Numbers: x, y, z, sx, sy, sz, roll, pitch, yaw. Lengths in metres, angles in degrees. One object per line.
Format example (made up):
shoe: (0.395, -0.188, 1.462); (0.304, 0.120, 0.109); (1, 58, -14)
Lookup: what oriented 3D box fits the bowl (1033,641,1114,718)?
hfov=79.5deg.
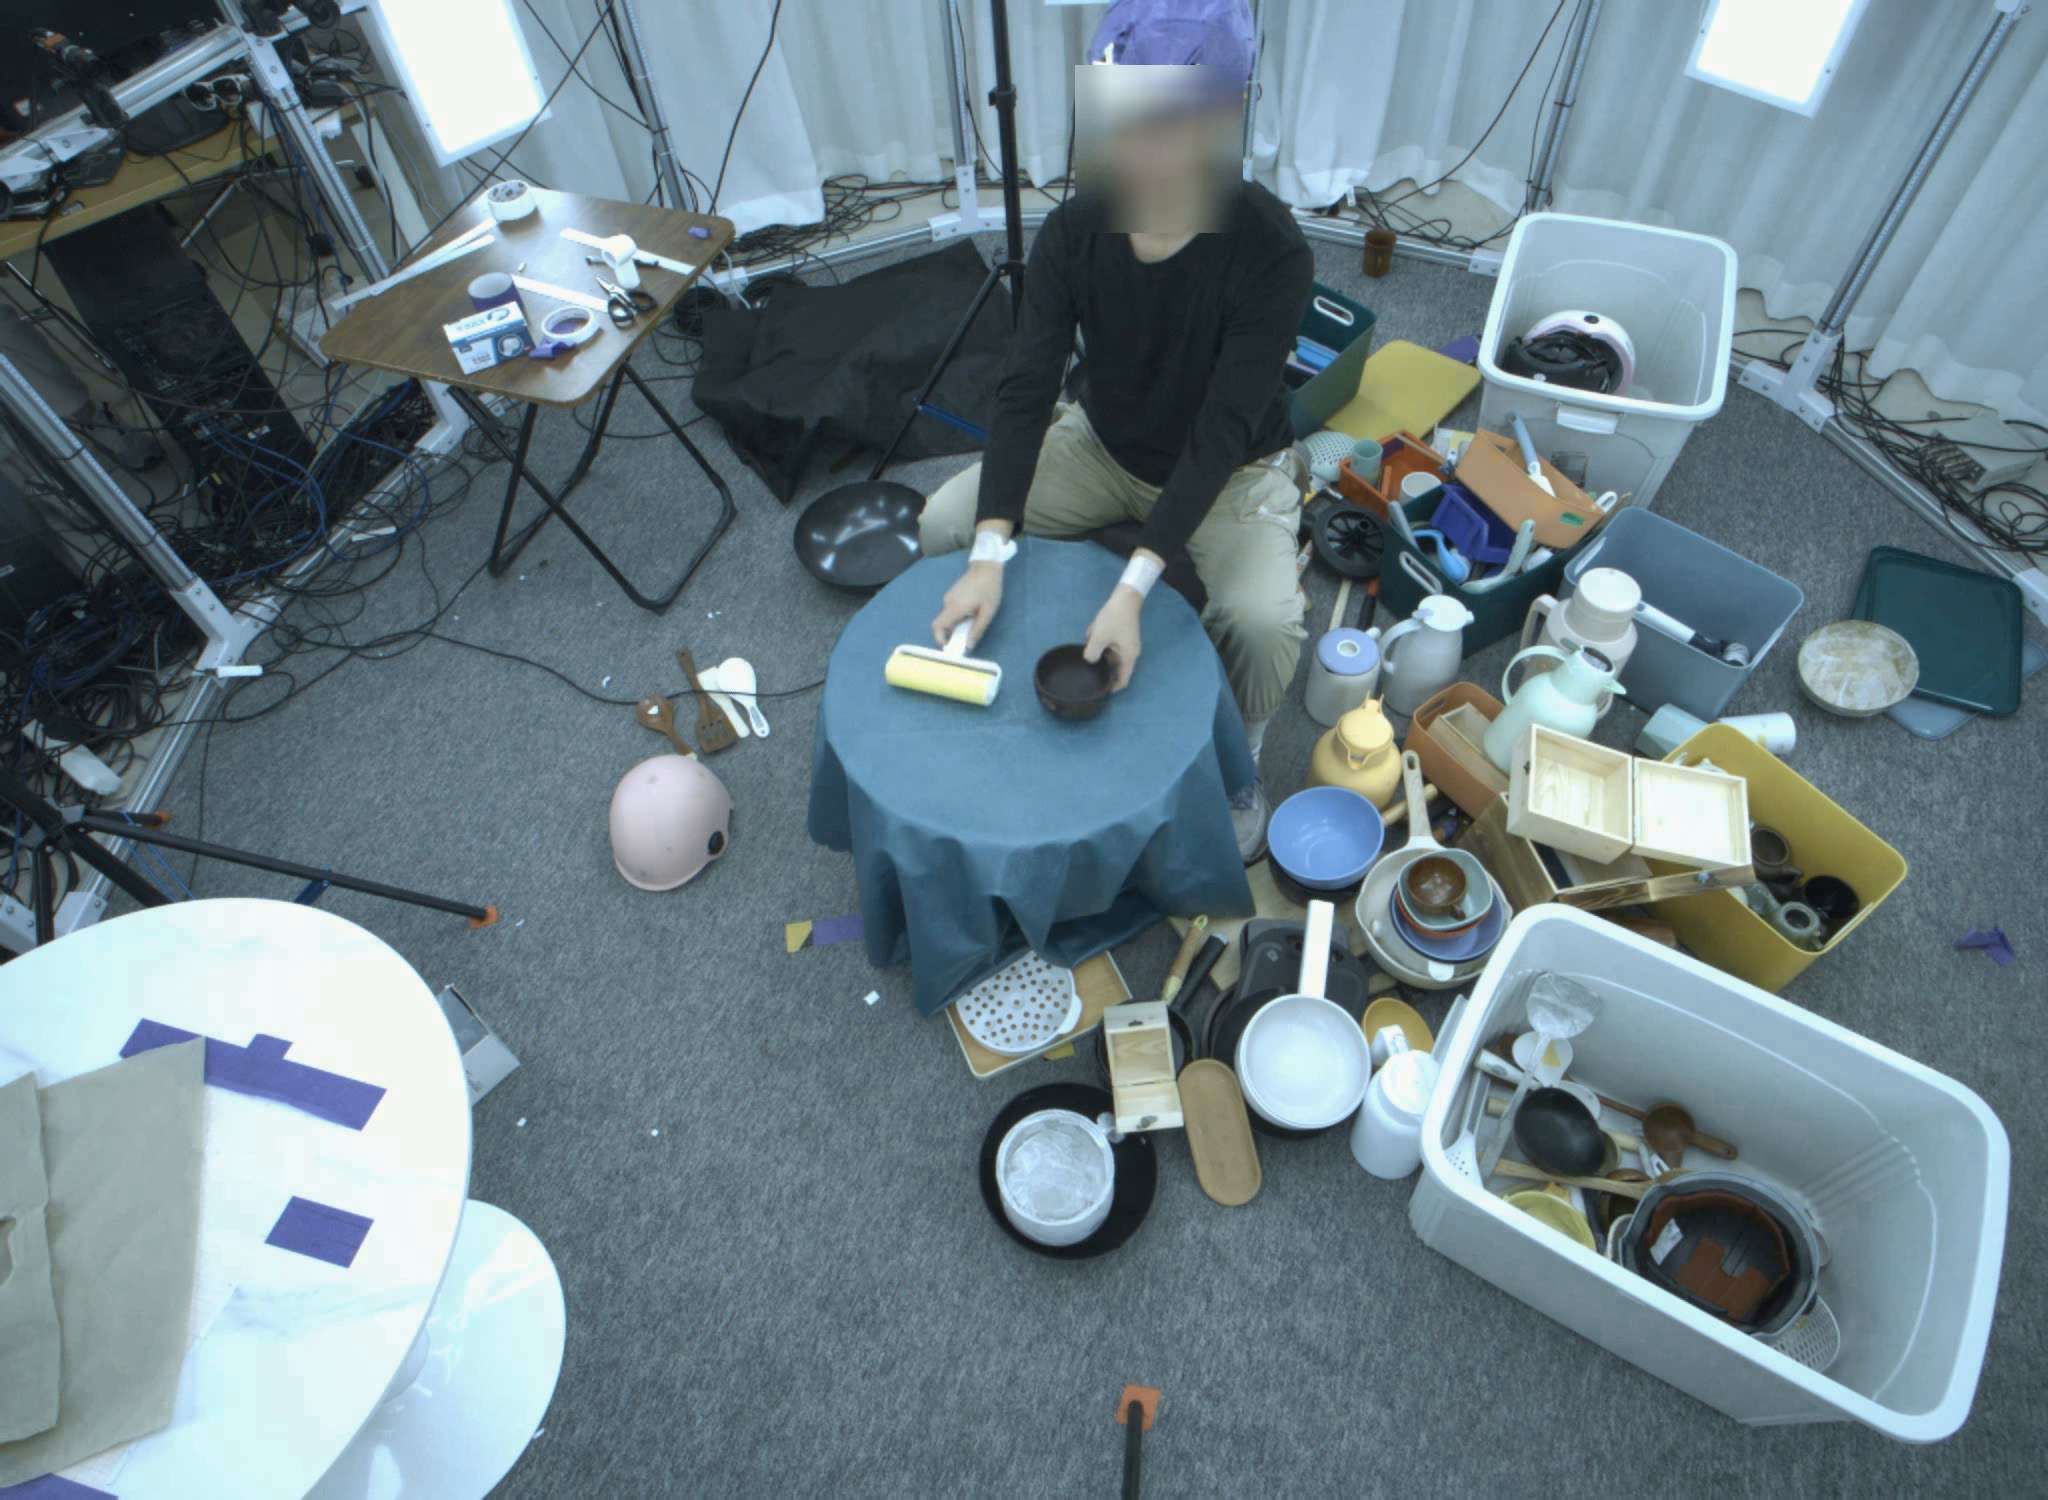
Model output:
bowl: (0.073, -0.095, 1.806); (0.118, 0.070, 0.117); (0, 55, 1)

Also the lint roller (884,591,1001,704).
lint roller: (-0.106, -0.169, 1.860); (0.172, 0.052, 0.191); (11, 69, 14)
